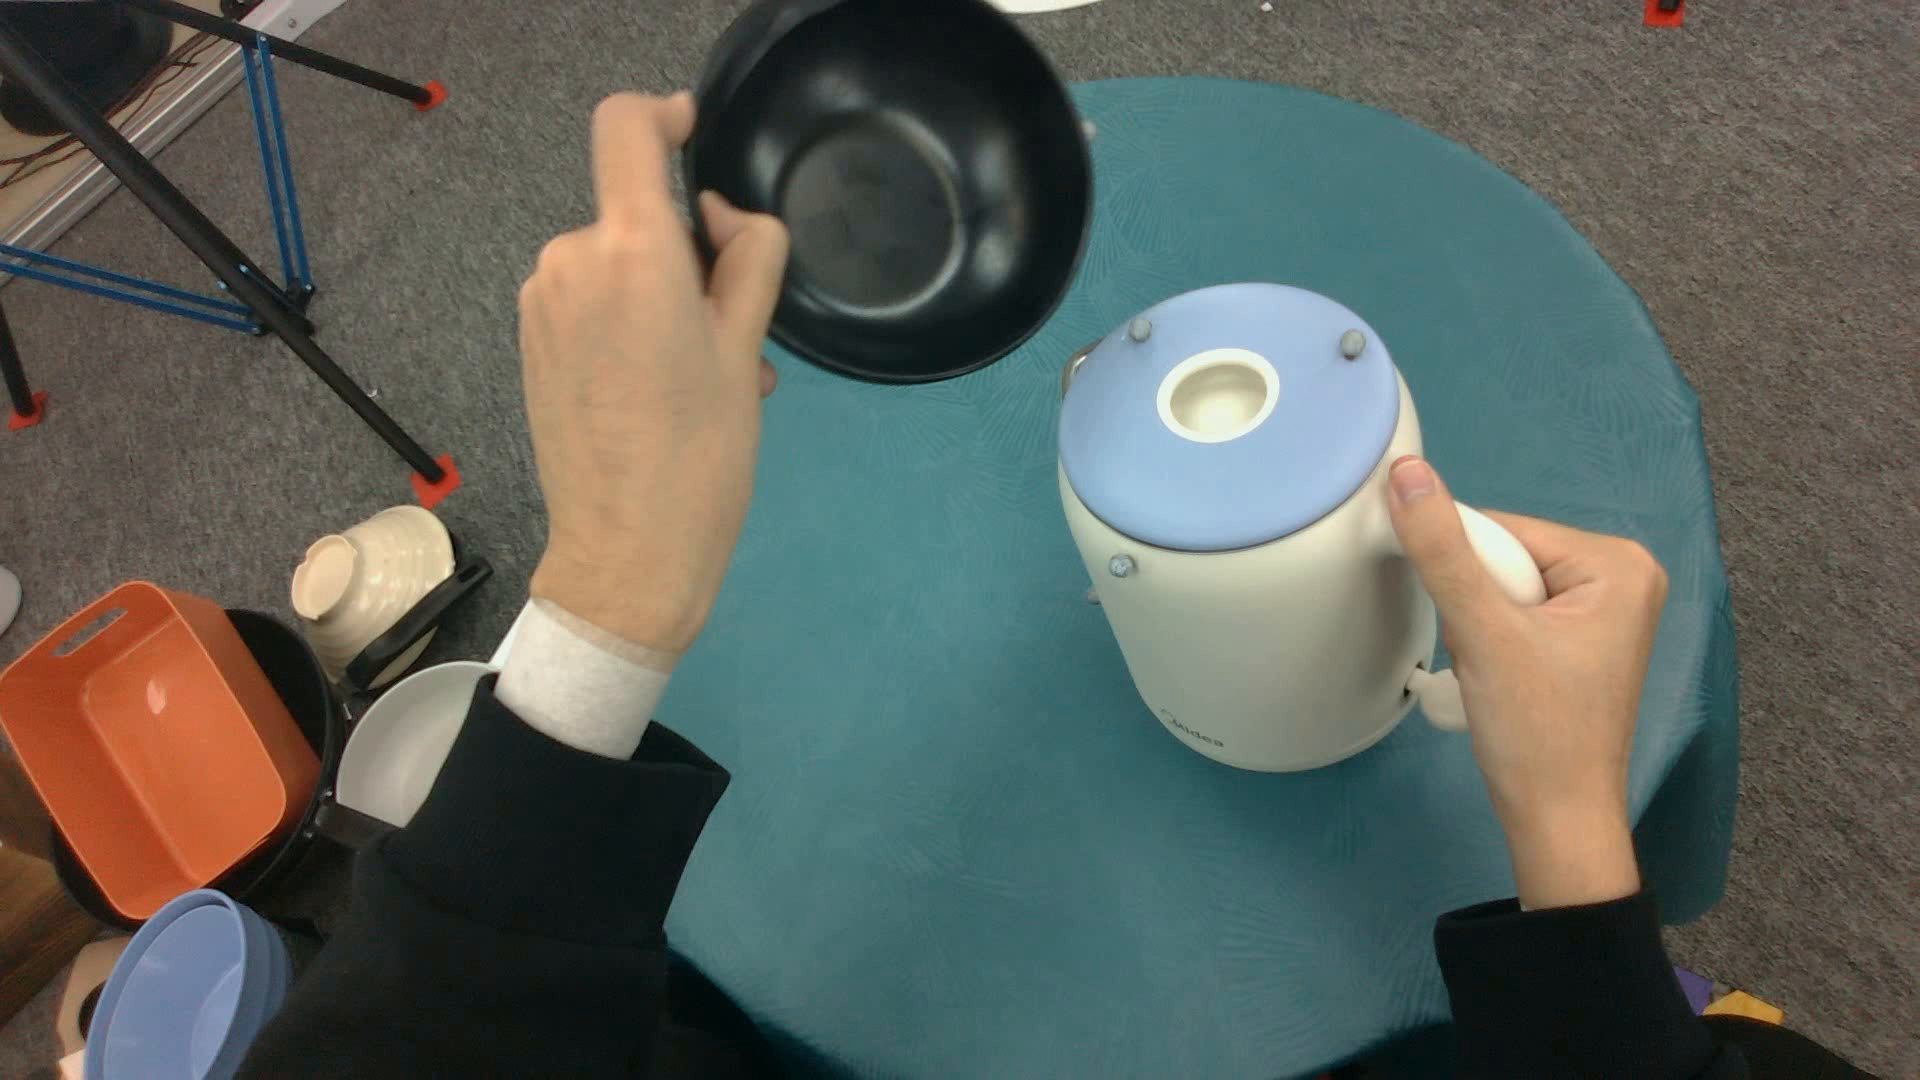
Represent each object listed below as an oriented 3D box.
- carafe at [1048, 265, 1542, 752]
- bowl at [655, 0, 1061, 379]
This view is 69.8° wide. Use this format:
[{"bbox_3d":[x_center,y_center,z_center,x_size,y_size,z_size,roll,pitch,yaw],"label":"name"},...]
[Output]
[{"bbox_3d":[0.131,0.002,0.537,0.191,0.182,0.132,25,69,30],"label":"carafe"},{"bbox_3d":[-0.037,-0.120,0.487,0.140,0.049,0.140,2,82,-13],"label":"bowl"}]
